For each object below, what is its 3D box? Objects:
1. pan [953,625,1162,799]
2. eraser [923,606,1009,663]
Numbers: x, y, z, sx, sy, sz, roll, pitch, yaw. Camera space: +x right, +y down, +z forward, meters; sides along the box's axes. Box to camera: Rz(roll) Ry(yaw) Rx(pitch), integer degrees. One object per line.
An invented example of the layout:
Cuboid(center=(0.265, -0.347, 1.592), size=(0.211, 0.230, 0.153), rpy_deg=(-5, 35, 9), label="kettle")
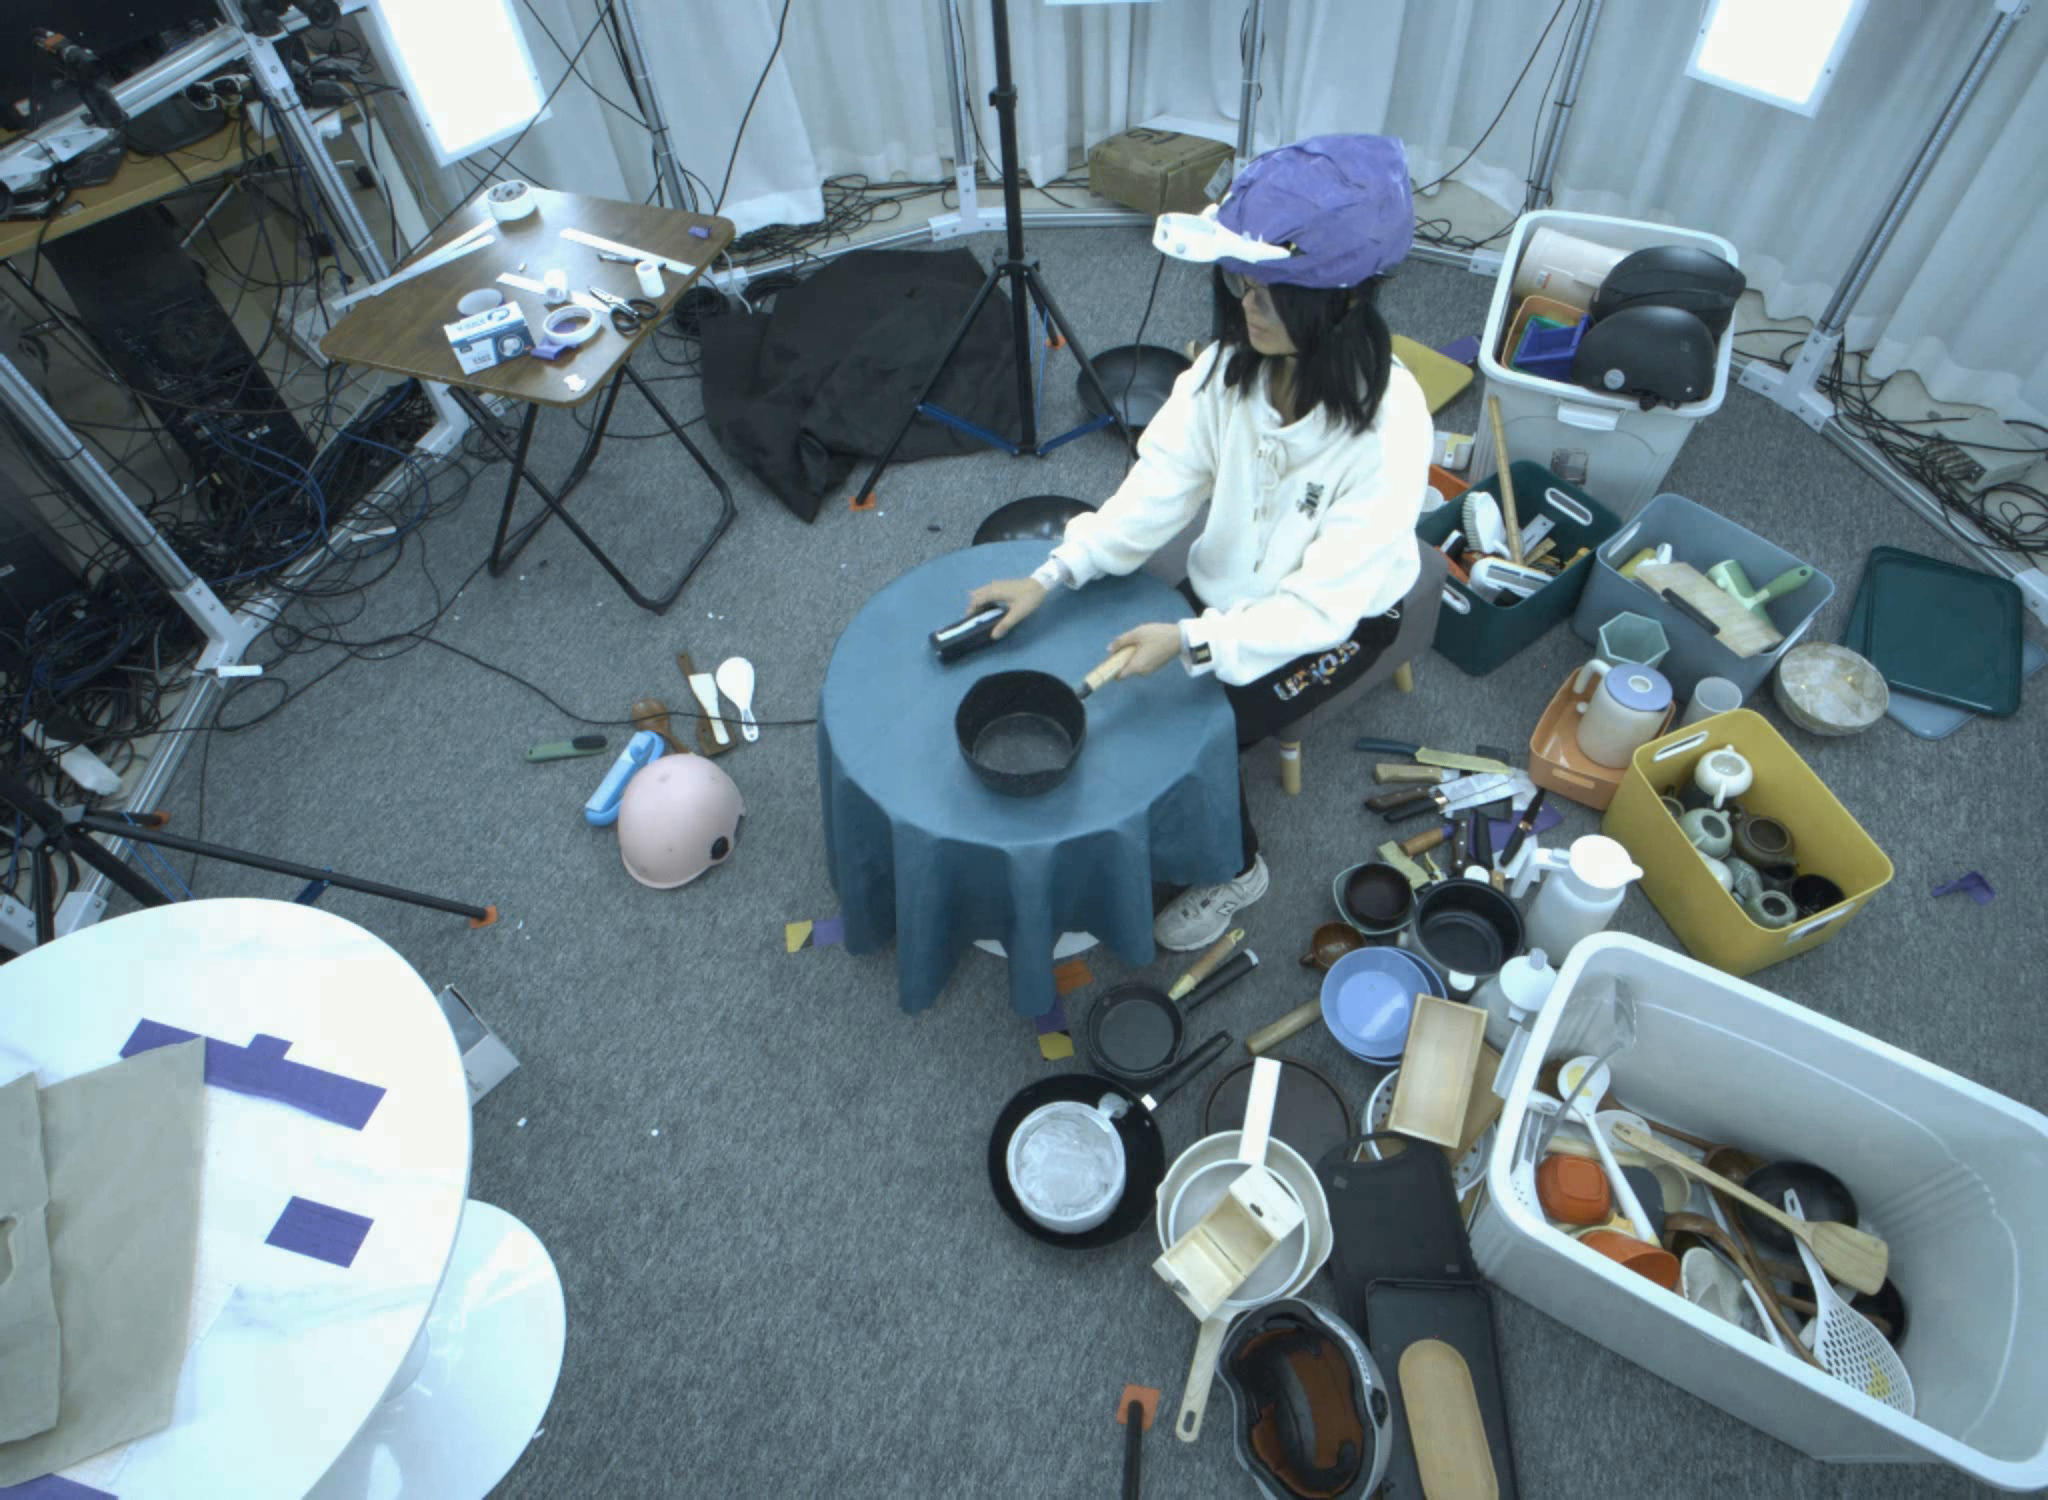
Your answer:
Cuboid(center=(0.058, -0.063, 1.763), size=(0.345, 0.109, 0.203), rpy_deg=(-34, 59, -18), label="pan")
Cuboid(center=(-0.089, -0.179, 1.892), size=(0.126, 0.031, 0.052), rpy_deg=(-25, 44, -14), label="eraser")
